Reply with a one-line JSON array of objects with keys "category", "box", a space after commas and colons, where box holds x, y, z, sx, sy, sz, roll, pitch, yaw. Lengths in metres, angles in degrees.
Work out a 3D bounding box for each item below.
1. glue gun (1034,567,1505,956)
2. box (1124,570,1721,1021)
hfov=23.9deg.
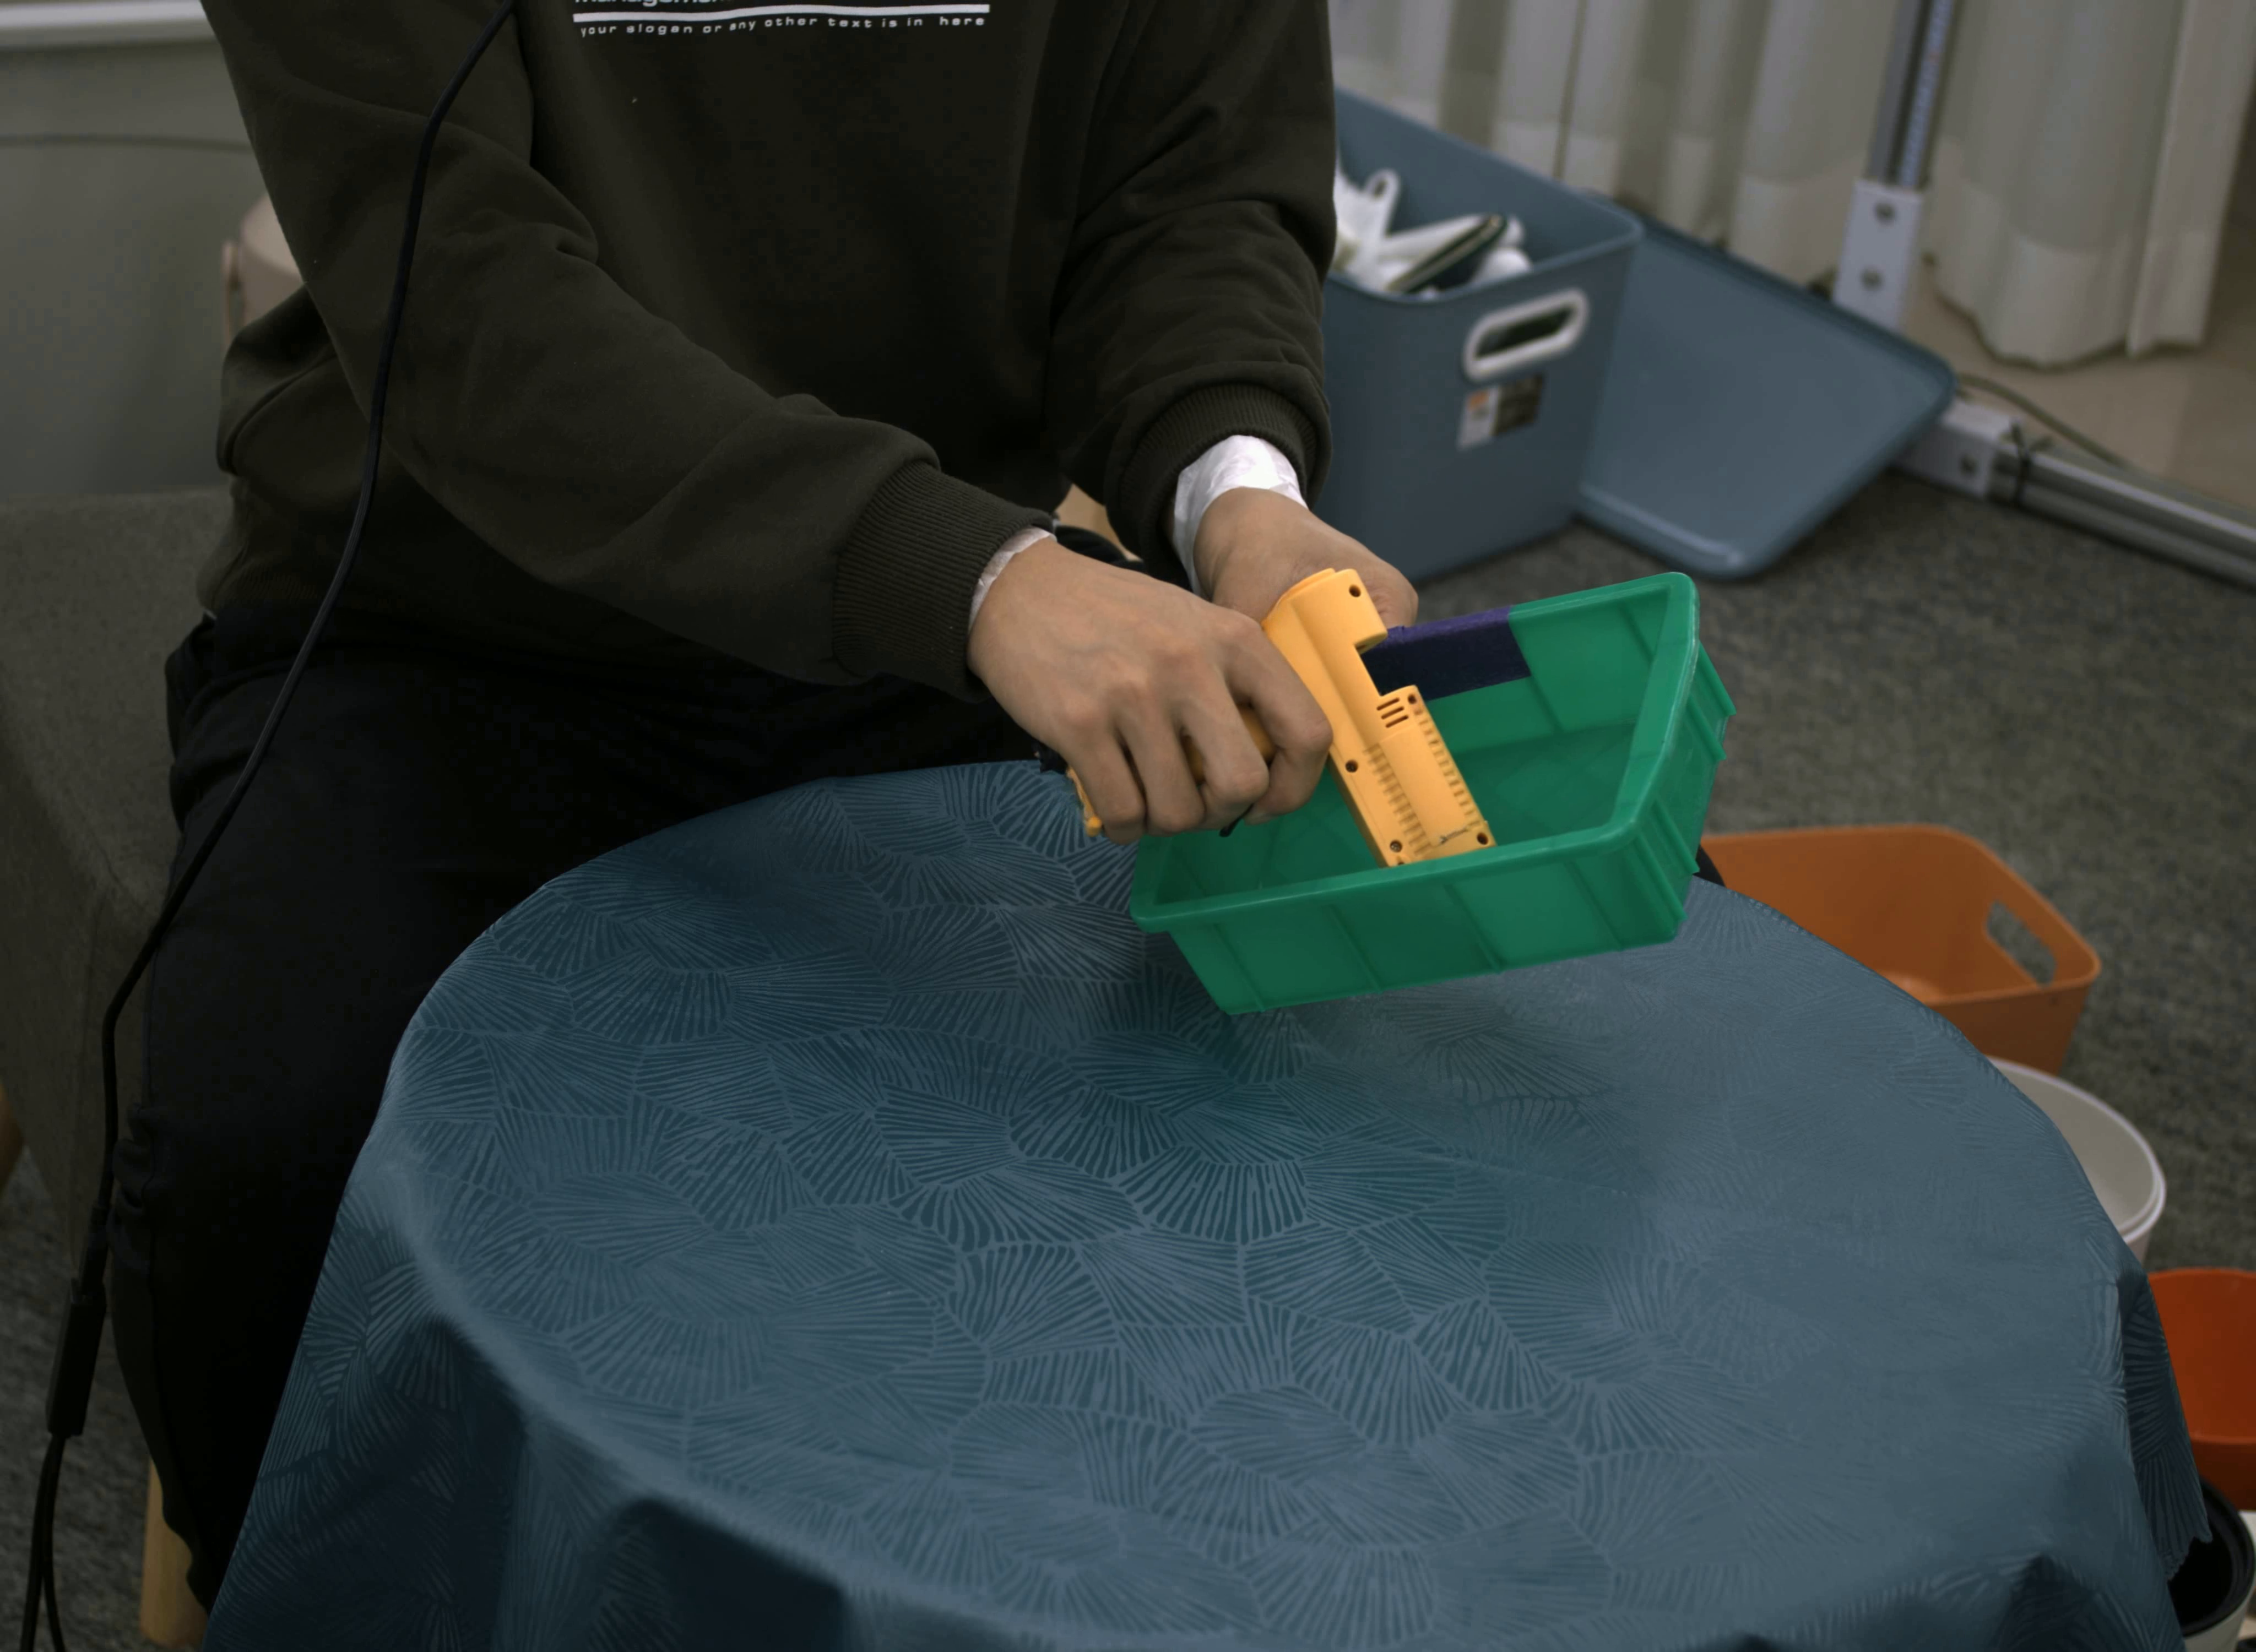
[{"category": "glue gun", "box": [0.060, 0.001, 1.875, 0.133, 0.031, 0.152, -30, 81, -9]}, {"category": "box", "box": [0.110, -0.006, 1.909, 0.211, 0.065, 0.139, -14, 36, 29]}]
